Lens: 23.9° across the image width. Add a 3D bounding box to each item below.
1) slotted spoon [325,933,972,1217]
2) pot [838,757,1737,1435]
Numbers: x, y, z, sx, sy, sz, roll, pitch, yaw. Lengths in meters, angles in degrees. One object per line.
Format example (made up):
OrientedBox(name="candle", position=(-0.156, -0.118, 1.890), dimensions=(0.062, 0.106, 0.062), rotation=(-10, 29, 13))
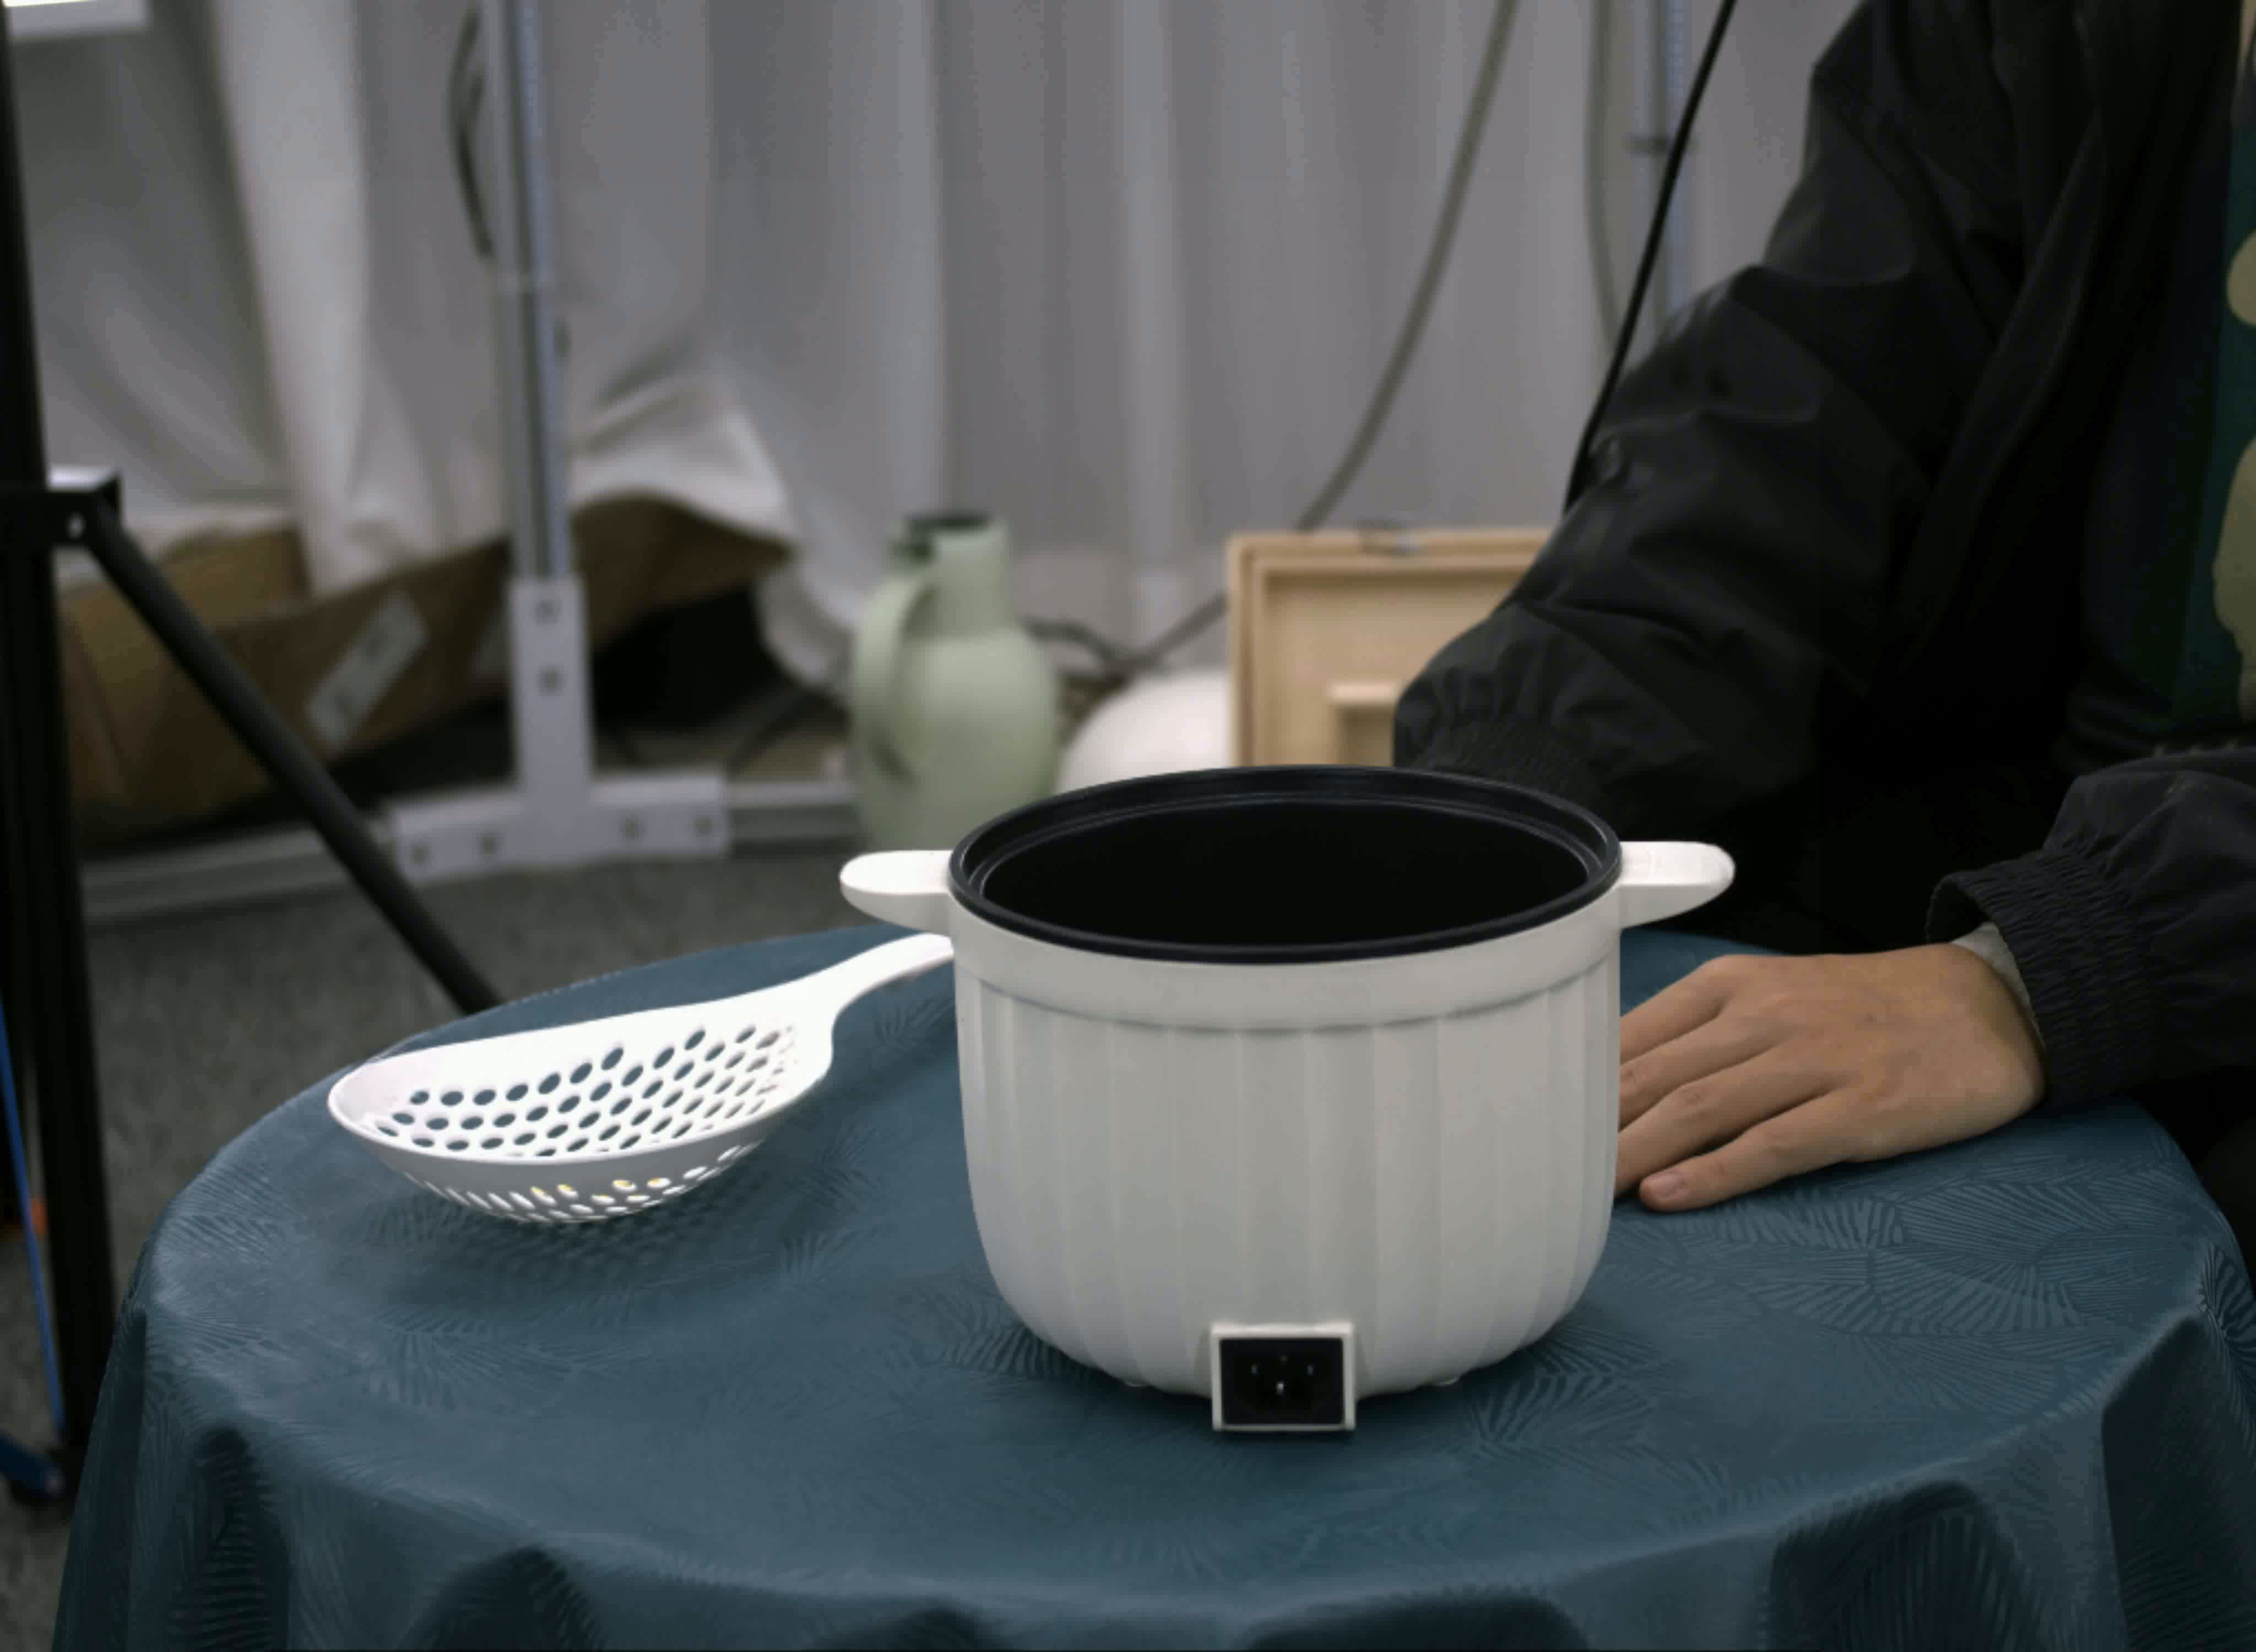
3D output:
OrientedBox(name="slotted spoon", position=(-0.107, 0.065, 1.650), dimensions=(0.139, 0.050, 0.341), rotation=(5, 18, 31))
OrientedBox(name="pot", position=(0.043, 0.069, 1.437), dimensions=(0.240, 0.142, 0.191), rotation=(0, 18, 5))
